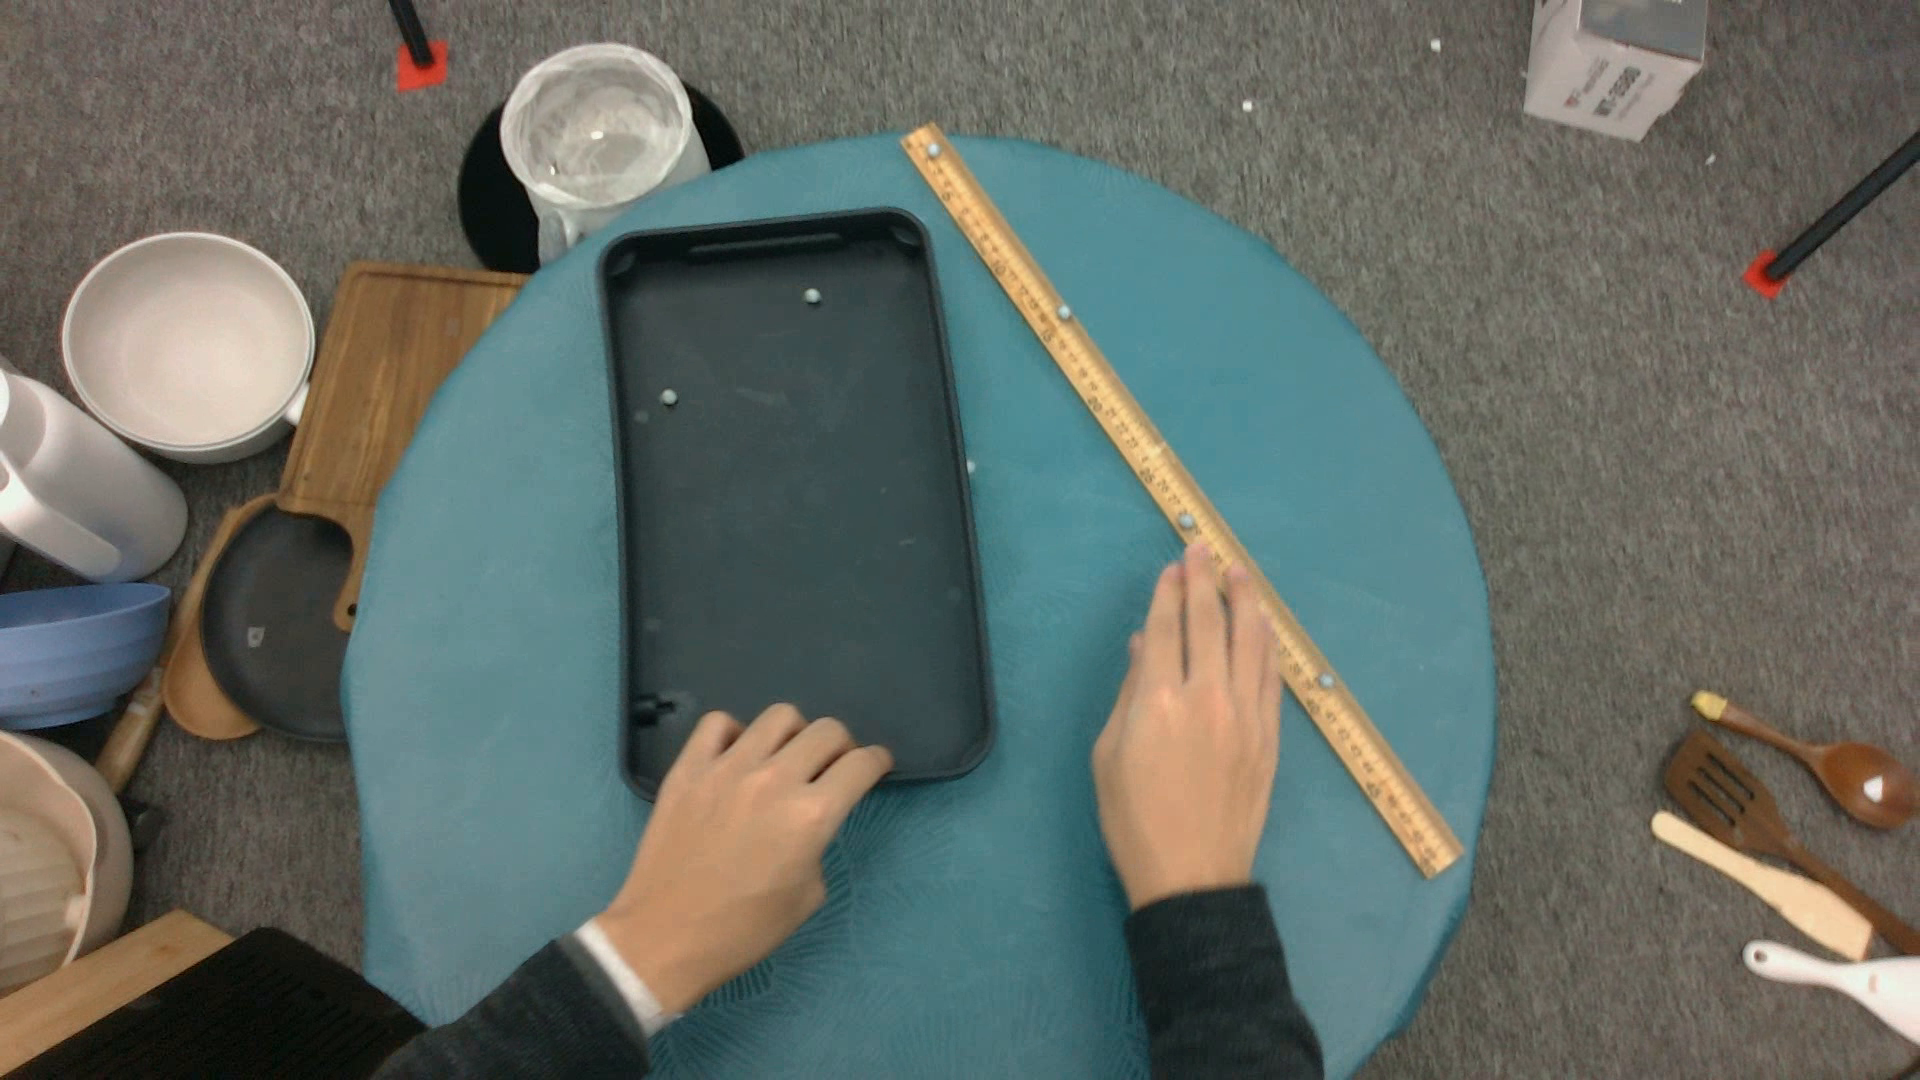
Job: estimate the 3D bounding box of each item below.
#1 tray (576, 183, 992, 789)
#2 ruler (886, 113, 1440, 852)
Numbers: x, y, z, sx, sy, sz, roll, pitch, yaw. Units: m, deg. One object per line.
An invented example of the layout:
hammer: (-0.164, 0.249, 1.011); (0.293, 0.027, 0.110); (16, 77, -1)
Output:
tray: (-0.097, -0.036, 0.727); (0.184, 0.037, 0.318); (-7, 72, -6)
ruler: (0.100, -0.048, 0.761); (0.027, 0.006, 0.501); (-31, 76, -11)
